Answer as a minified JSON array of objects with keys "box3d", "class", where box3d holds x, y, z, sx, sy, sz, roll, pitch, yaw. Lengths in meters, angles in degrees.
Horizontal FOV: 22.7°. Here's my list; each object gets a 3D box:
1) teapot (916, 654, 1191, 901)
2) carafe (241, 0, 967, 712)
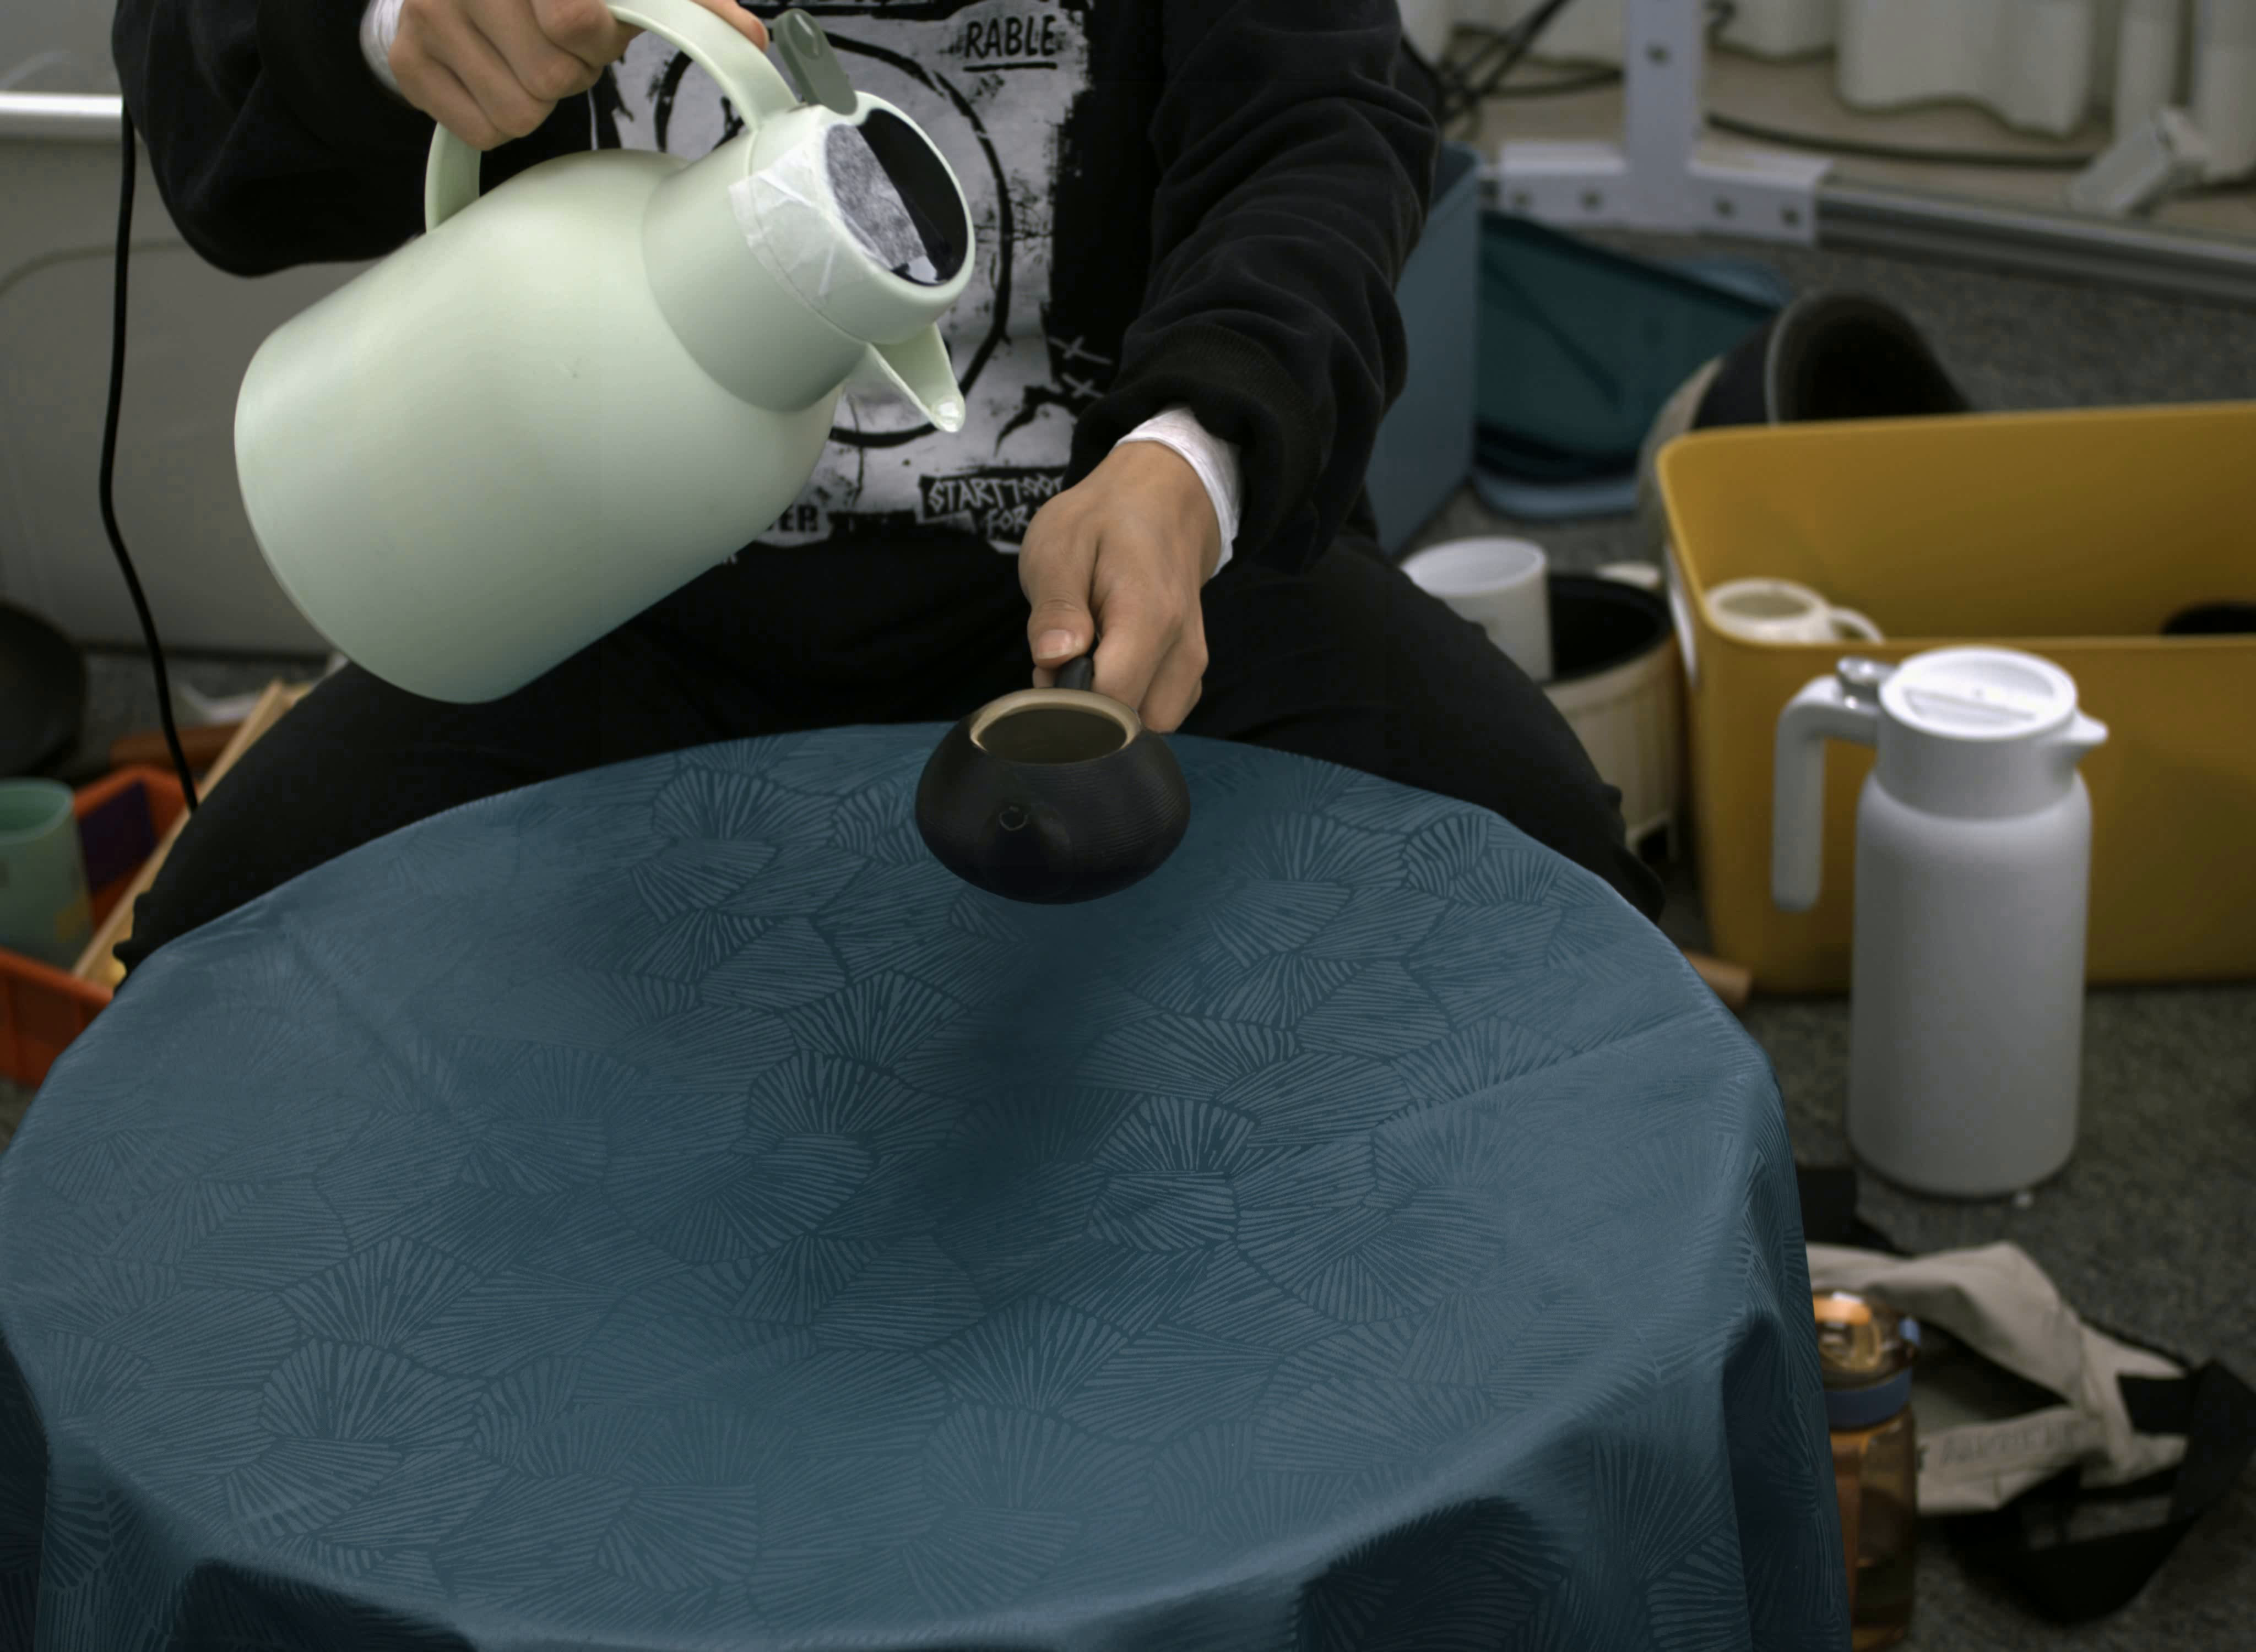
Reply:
[{"box3d":[-0.024,-0.011,1.845,0.090,0.052,0.135,6,27,7],"class":"teapot"},{"box3d":[-0.171,-0.162,1.837,0.252,0.187,0.146,-34,0,35],"class":"carafe"}]
